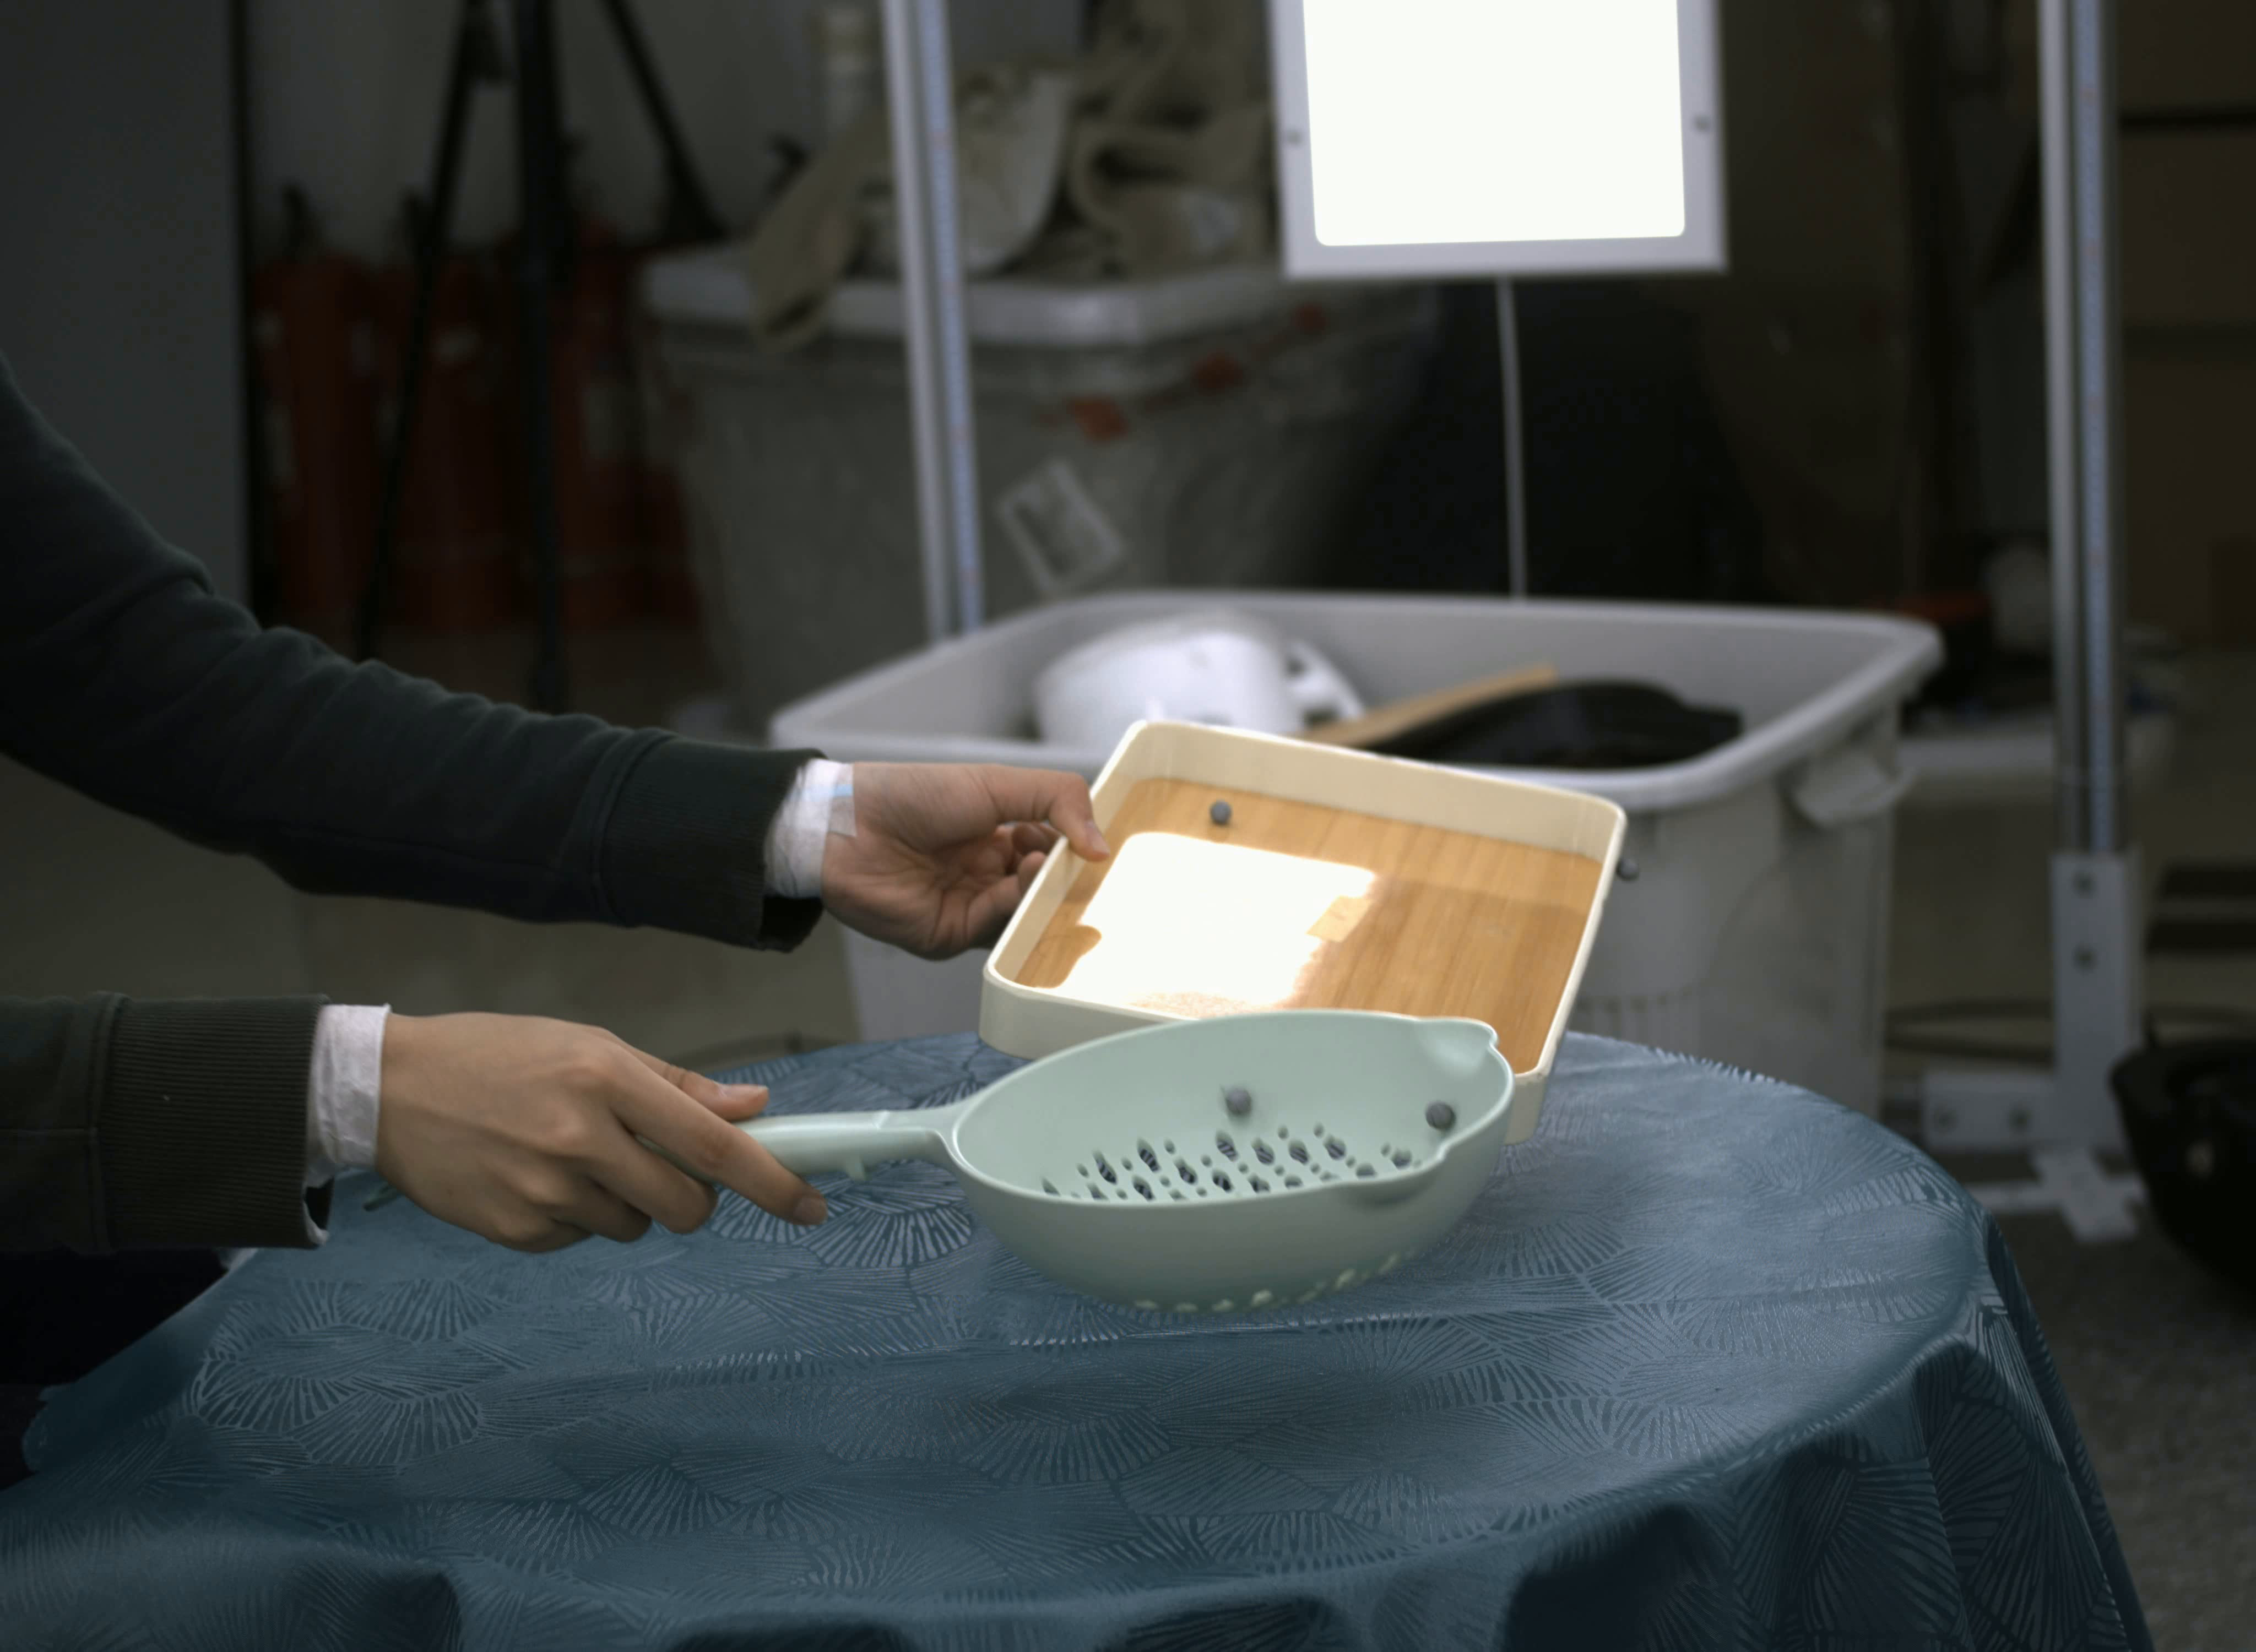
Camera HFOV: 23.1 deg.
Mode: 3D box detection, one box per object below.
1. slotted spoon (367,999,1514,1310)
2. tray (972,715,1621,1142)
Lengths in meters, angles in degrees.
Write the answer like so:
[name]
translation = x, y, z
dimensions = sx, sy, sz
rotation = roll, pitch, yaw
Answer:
[slotted spoon]
translation = -0.062, 0.097, 1.668
dimensions = 0.362, 0.076, 0.167
rotation = 4, 17, 14
[tray]
translation = 0.065, 0.031, 1.925
dimensions = 0.192, 0.027, 0.296
rotation = 10, 20, 9
